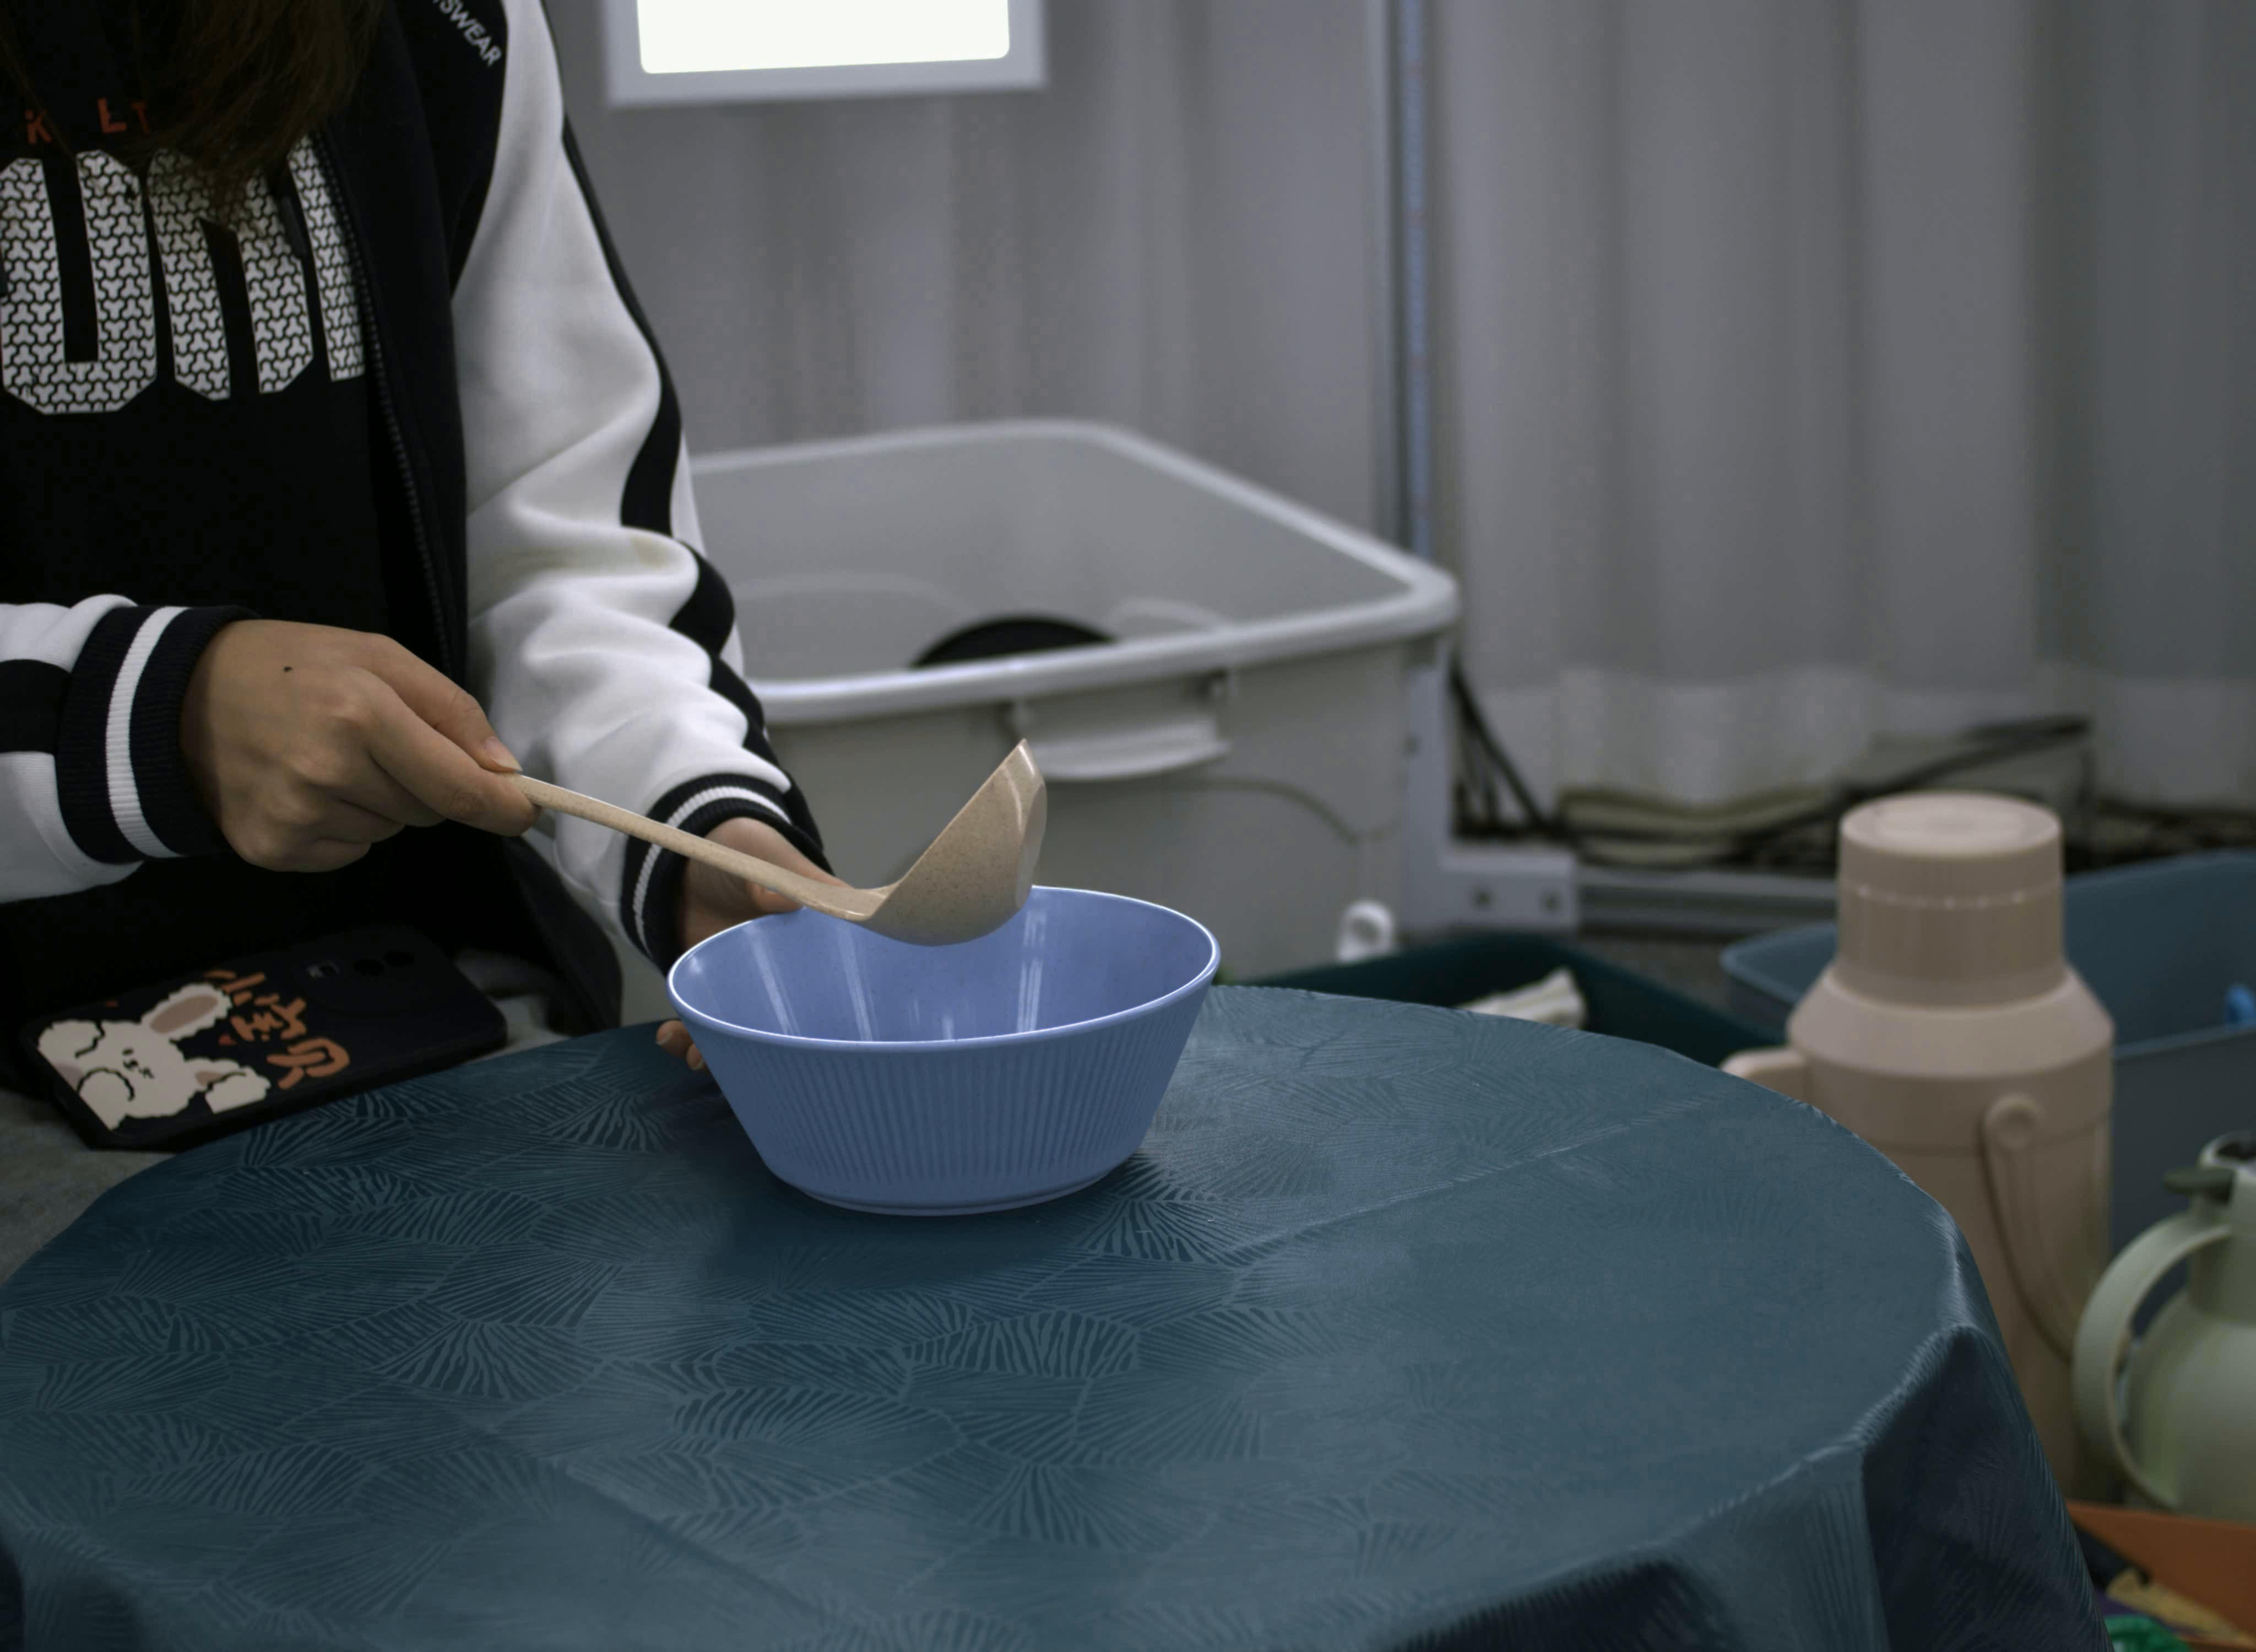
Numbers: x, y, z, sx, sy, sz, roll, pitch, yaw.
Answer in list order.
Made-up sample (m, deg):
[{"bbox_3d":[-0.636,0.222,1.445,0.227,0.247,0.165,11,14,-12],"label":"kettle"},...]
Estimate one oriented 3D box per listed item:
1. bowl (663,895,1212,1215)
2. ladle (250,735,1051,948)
[{"bbox_3d":[-0.059,0.075,1.741,0.175,0.070,0.177,-2,14,0],"label":"bowl"},{"bbox_3d":[-0.149,-0.023,1.720,0.254,0.072,0.072,16,16,6],"label":"ladle"}]
